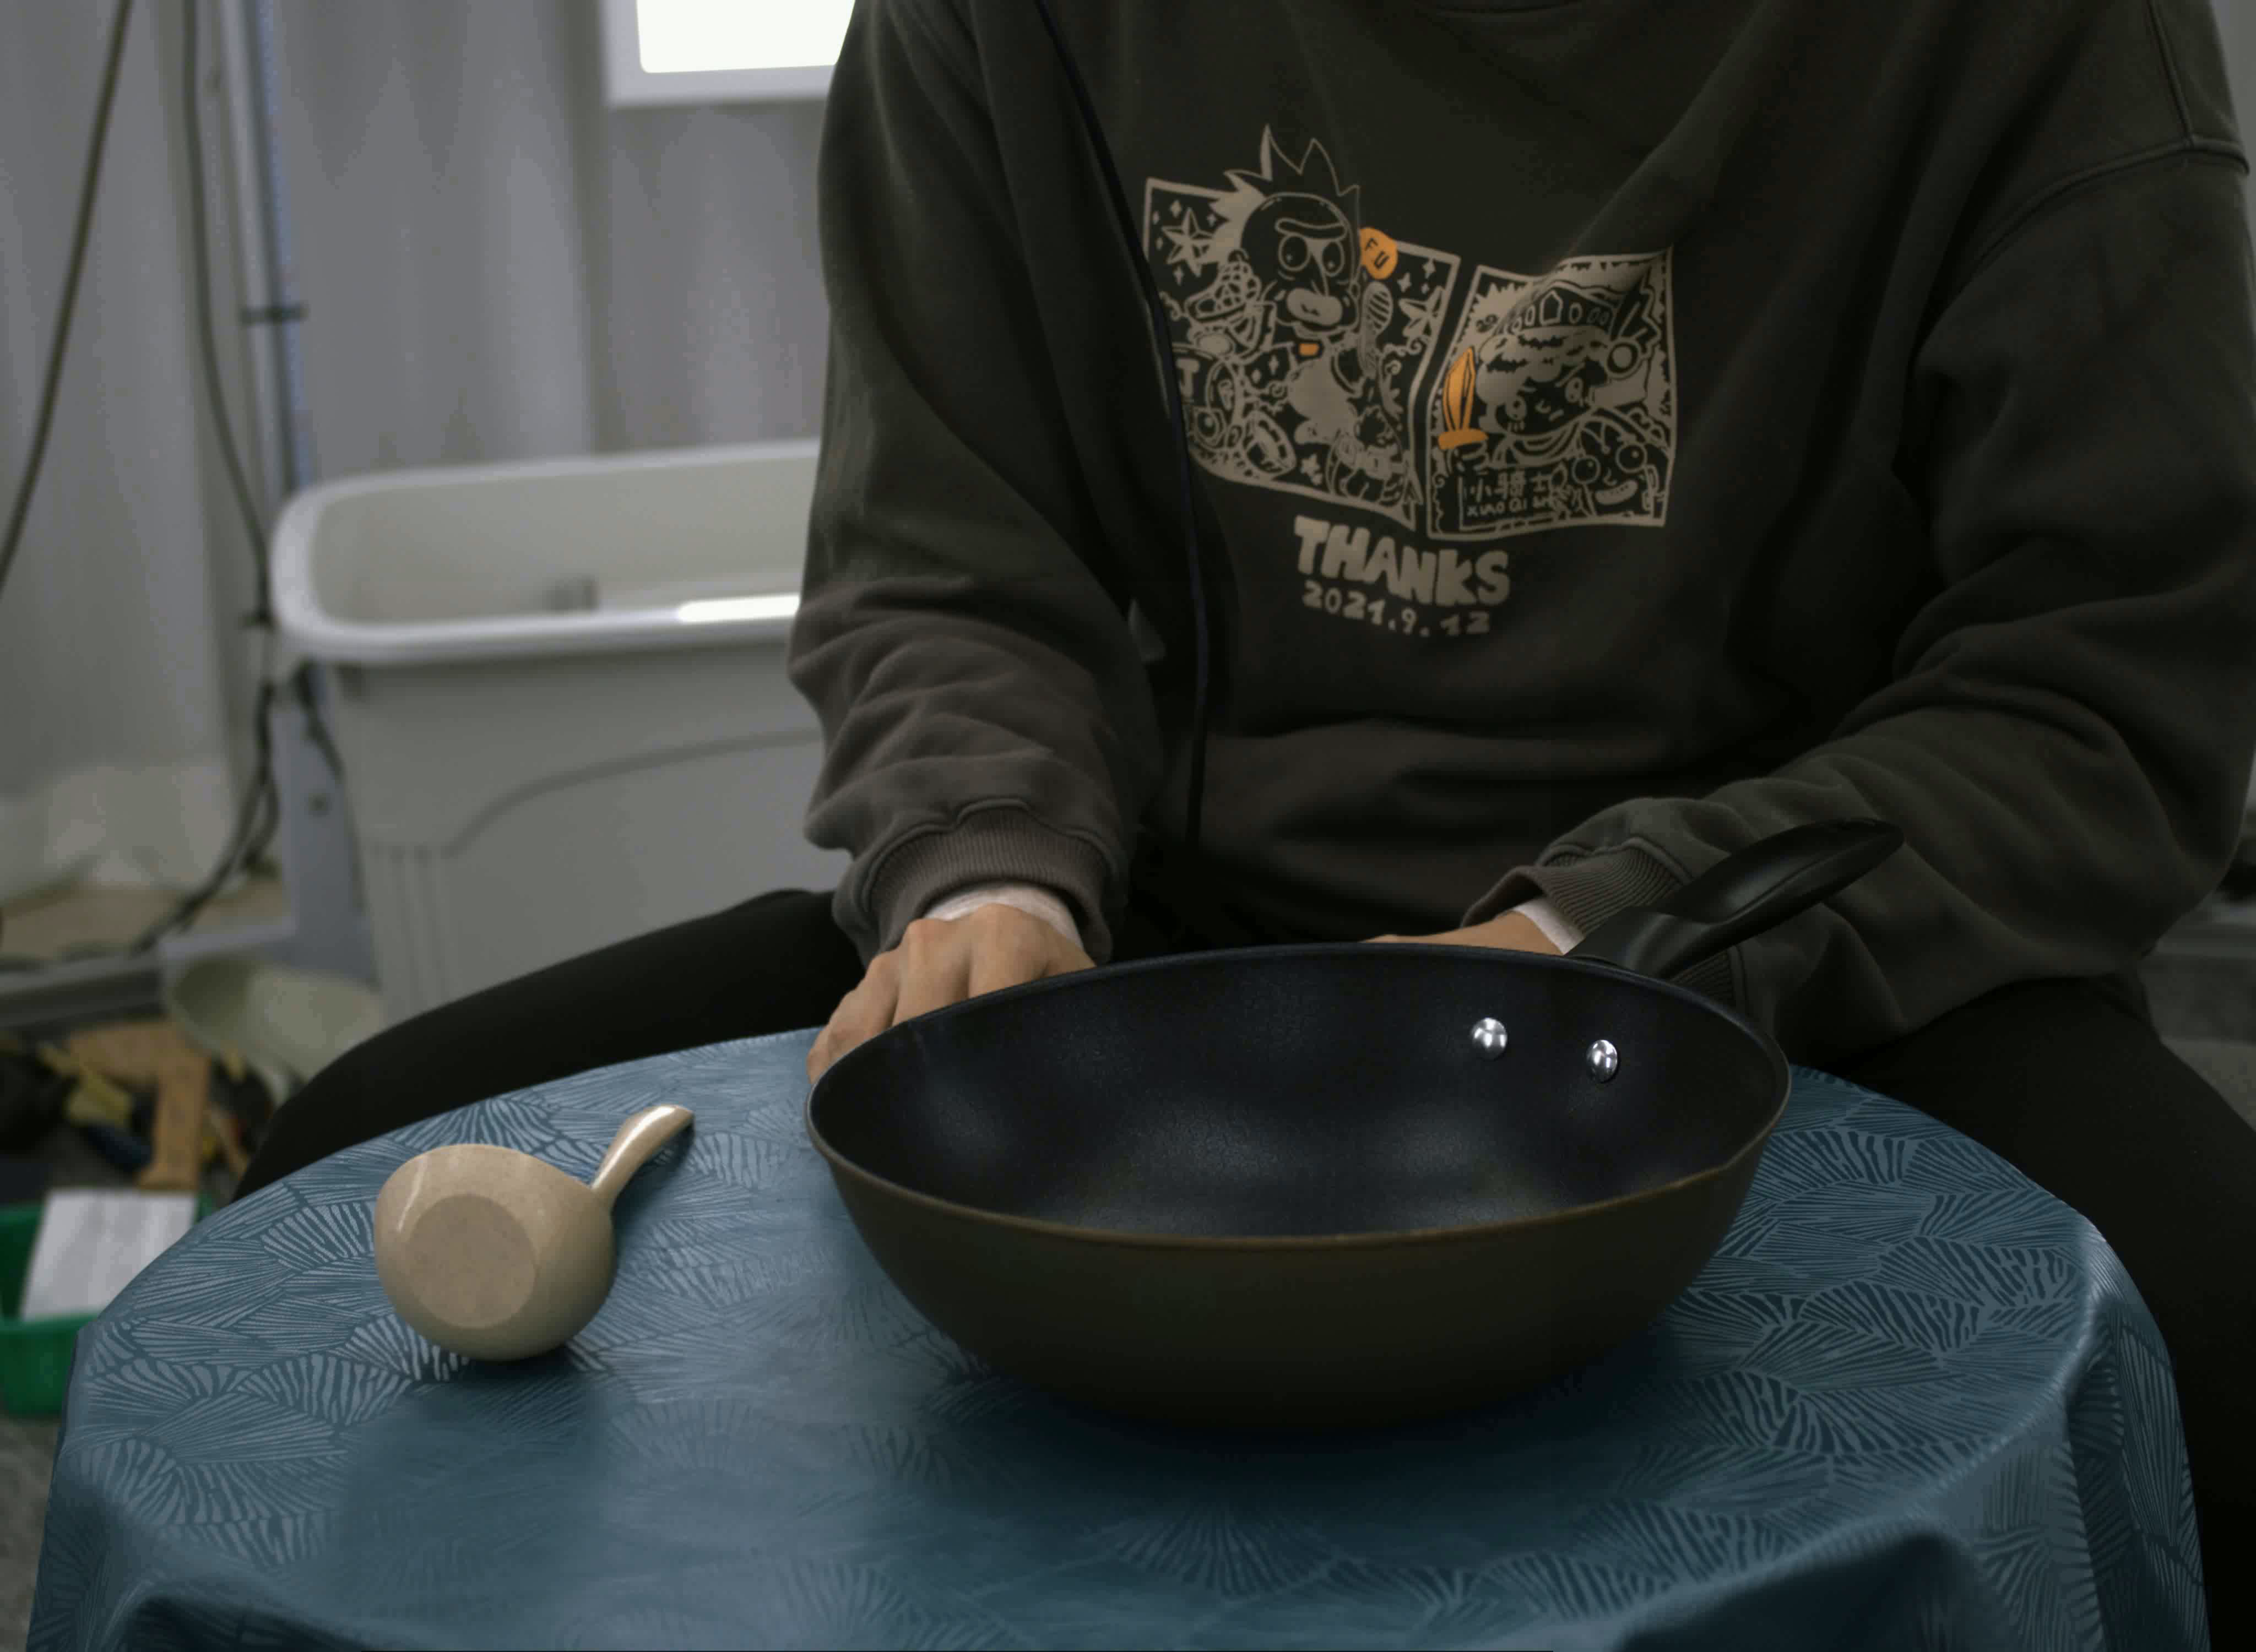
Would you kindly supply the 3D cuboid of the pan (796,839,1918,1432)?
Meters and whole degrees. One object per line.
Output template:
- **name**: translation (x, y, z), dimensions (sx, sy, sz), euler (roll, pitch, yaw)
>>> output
- **pan**: translation (0.103, 0.089, 1.639), dimensions (0.289, 0.086, 0.463), euler (8, 18, 37)

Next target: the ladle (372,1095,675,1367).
- **ladle**: translation (-0.174, 0.095, 1.689), dimensions (0.072, 0.072, 0.256), euler (-5, 16, 7)
